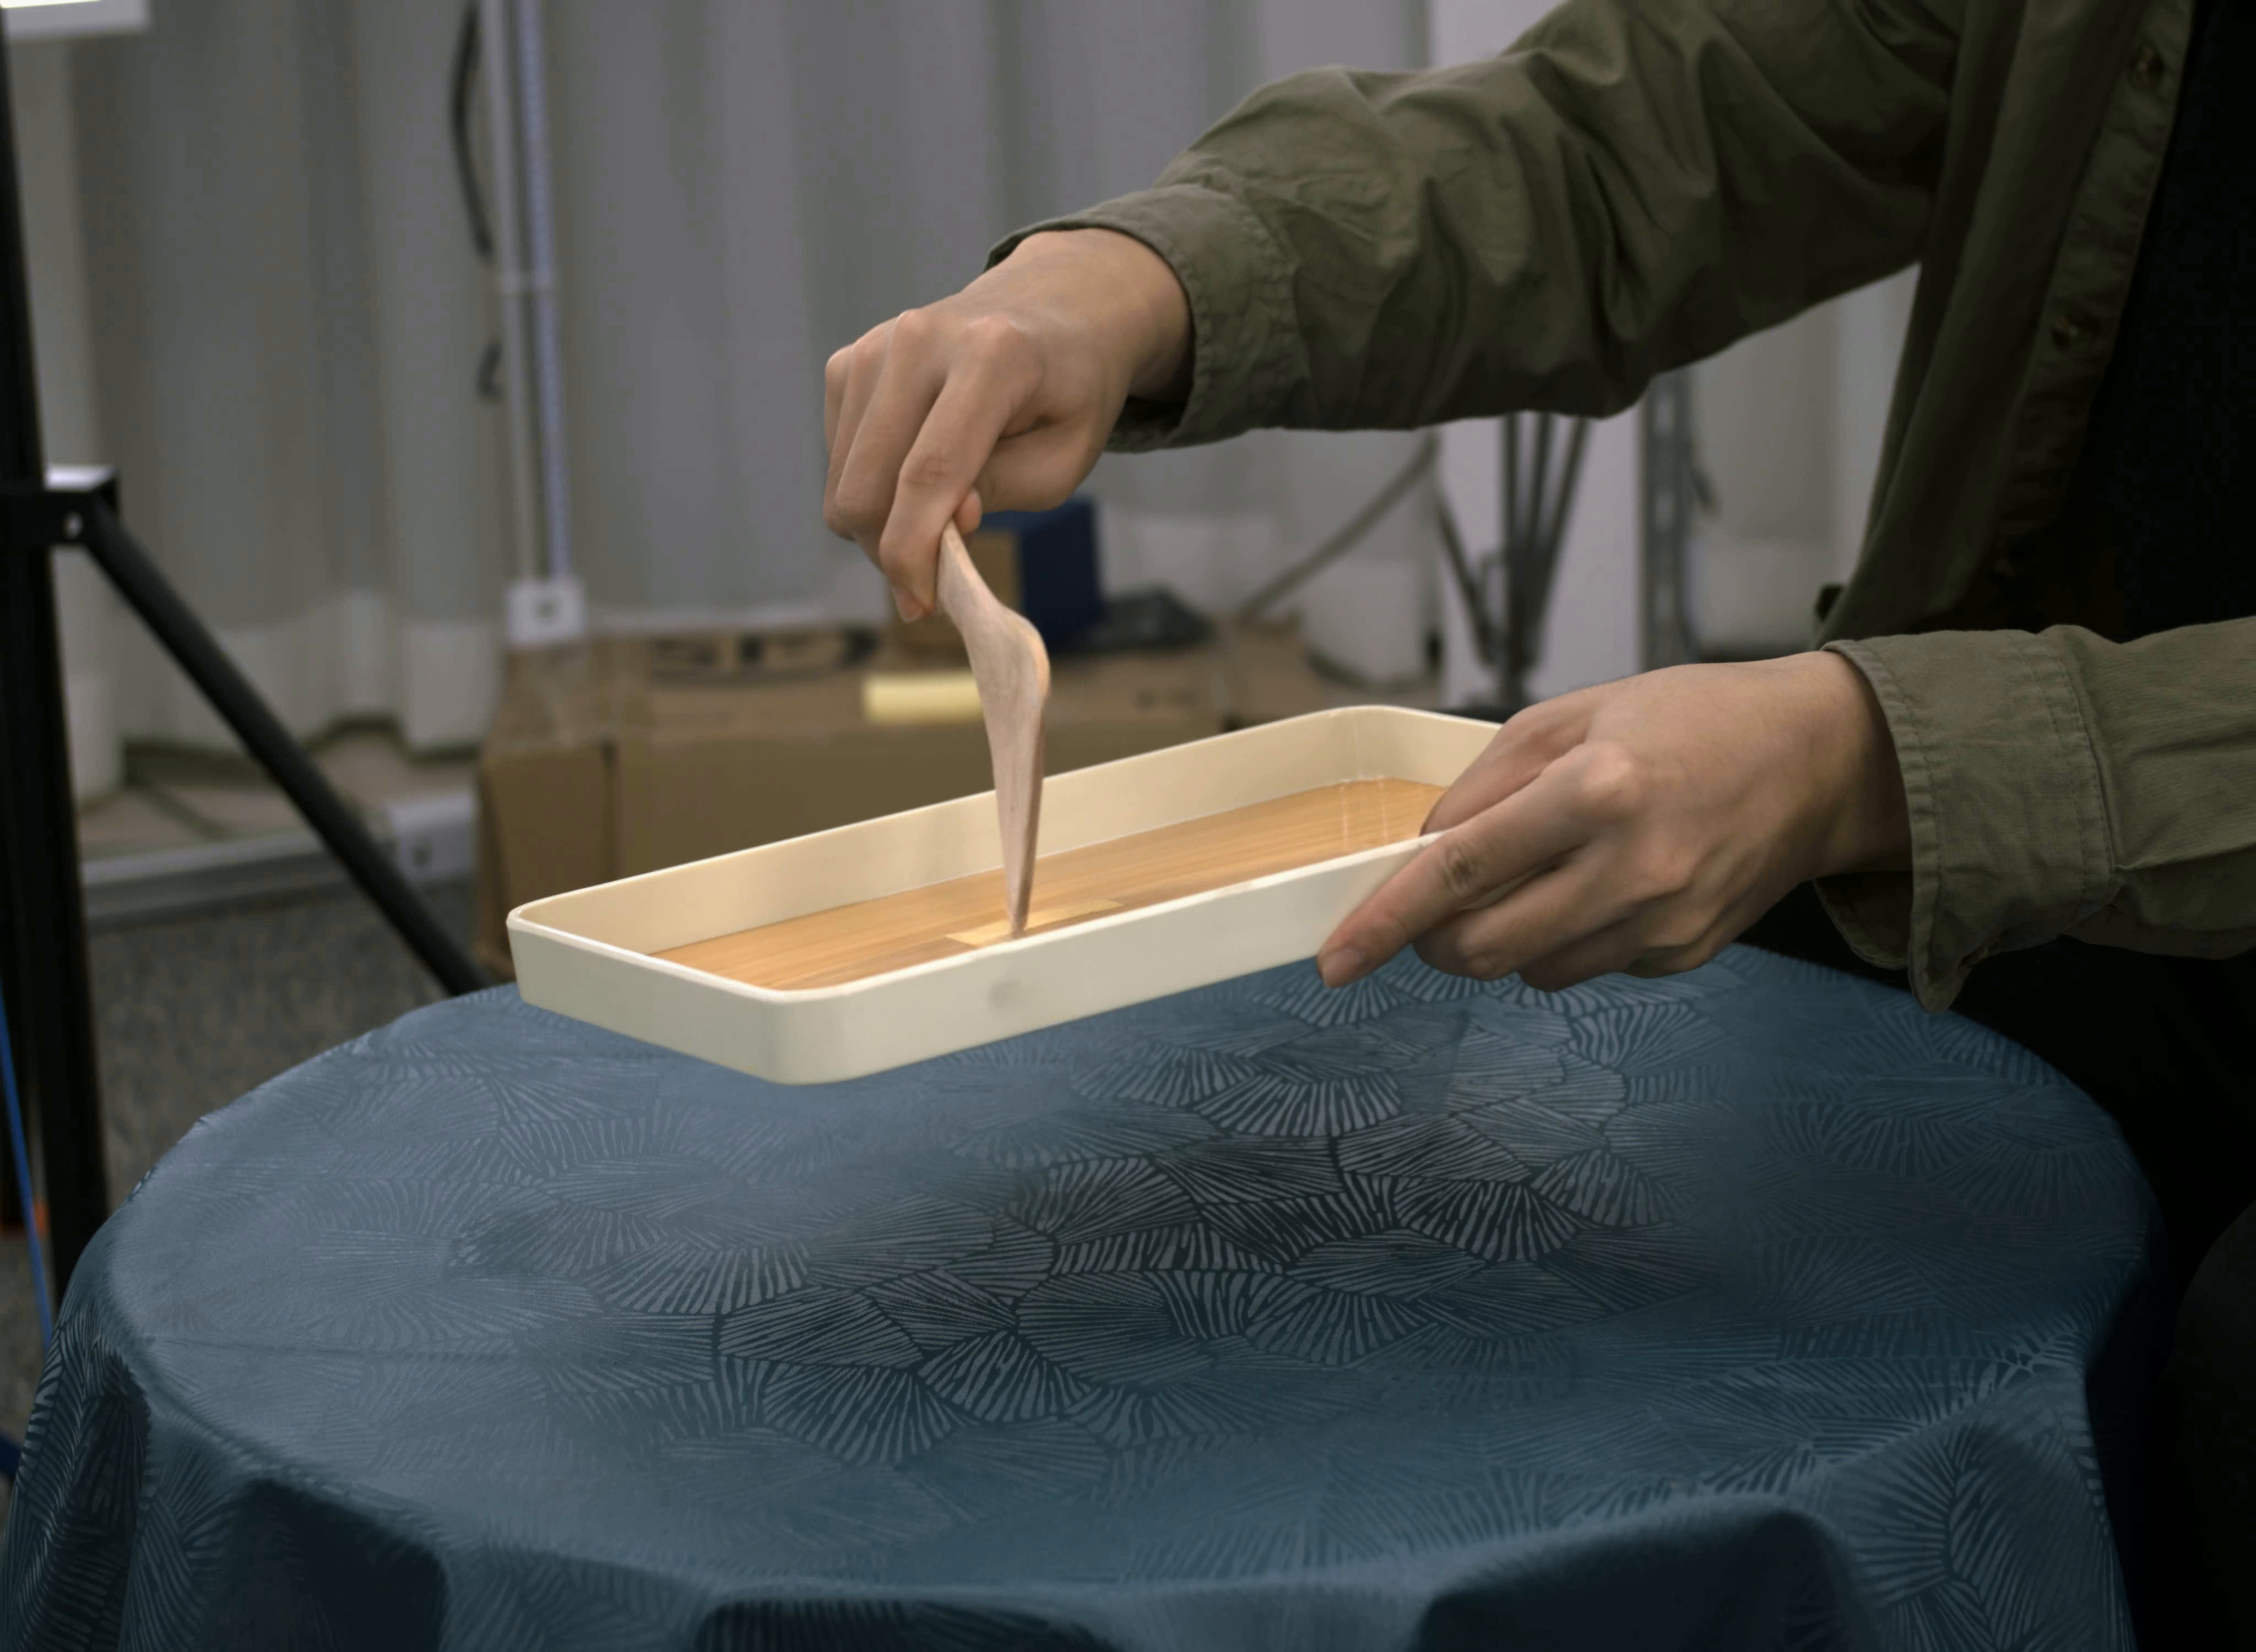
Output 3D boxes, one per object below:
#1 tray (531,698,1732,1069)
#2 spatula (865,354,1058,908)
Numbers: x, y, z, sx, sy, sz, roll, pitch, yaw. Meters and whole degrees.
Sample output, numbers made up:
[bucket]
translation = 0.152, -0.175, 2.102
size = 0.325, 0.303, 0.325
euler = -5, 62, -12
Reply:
[tray]
translation = 0.001, 0.012, 1.496
size = 0.294, 0.027, 0.195
euler = -12, 13, -27
[spatula]
translation = -0.051, -0.071, 1.539
size = 0.016, 0.080, 0.332
euler = 1, 25, -13
